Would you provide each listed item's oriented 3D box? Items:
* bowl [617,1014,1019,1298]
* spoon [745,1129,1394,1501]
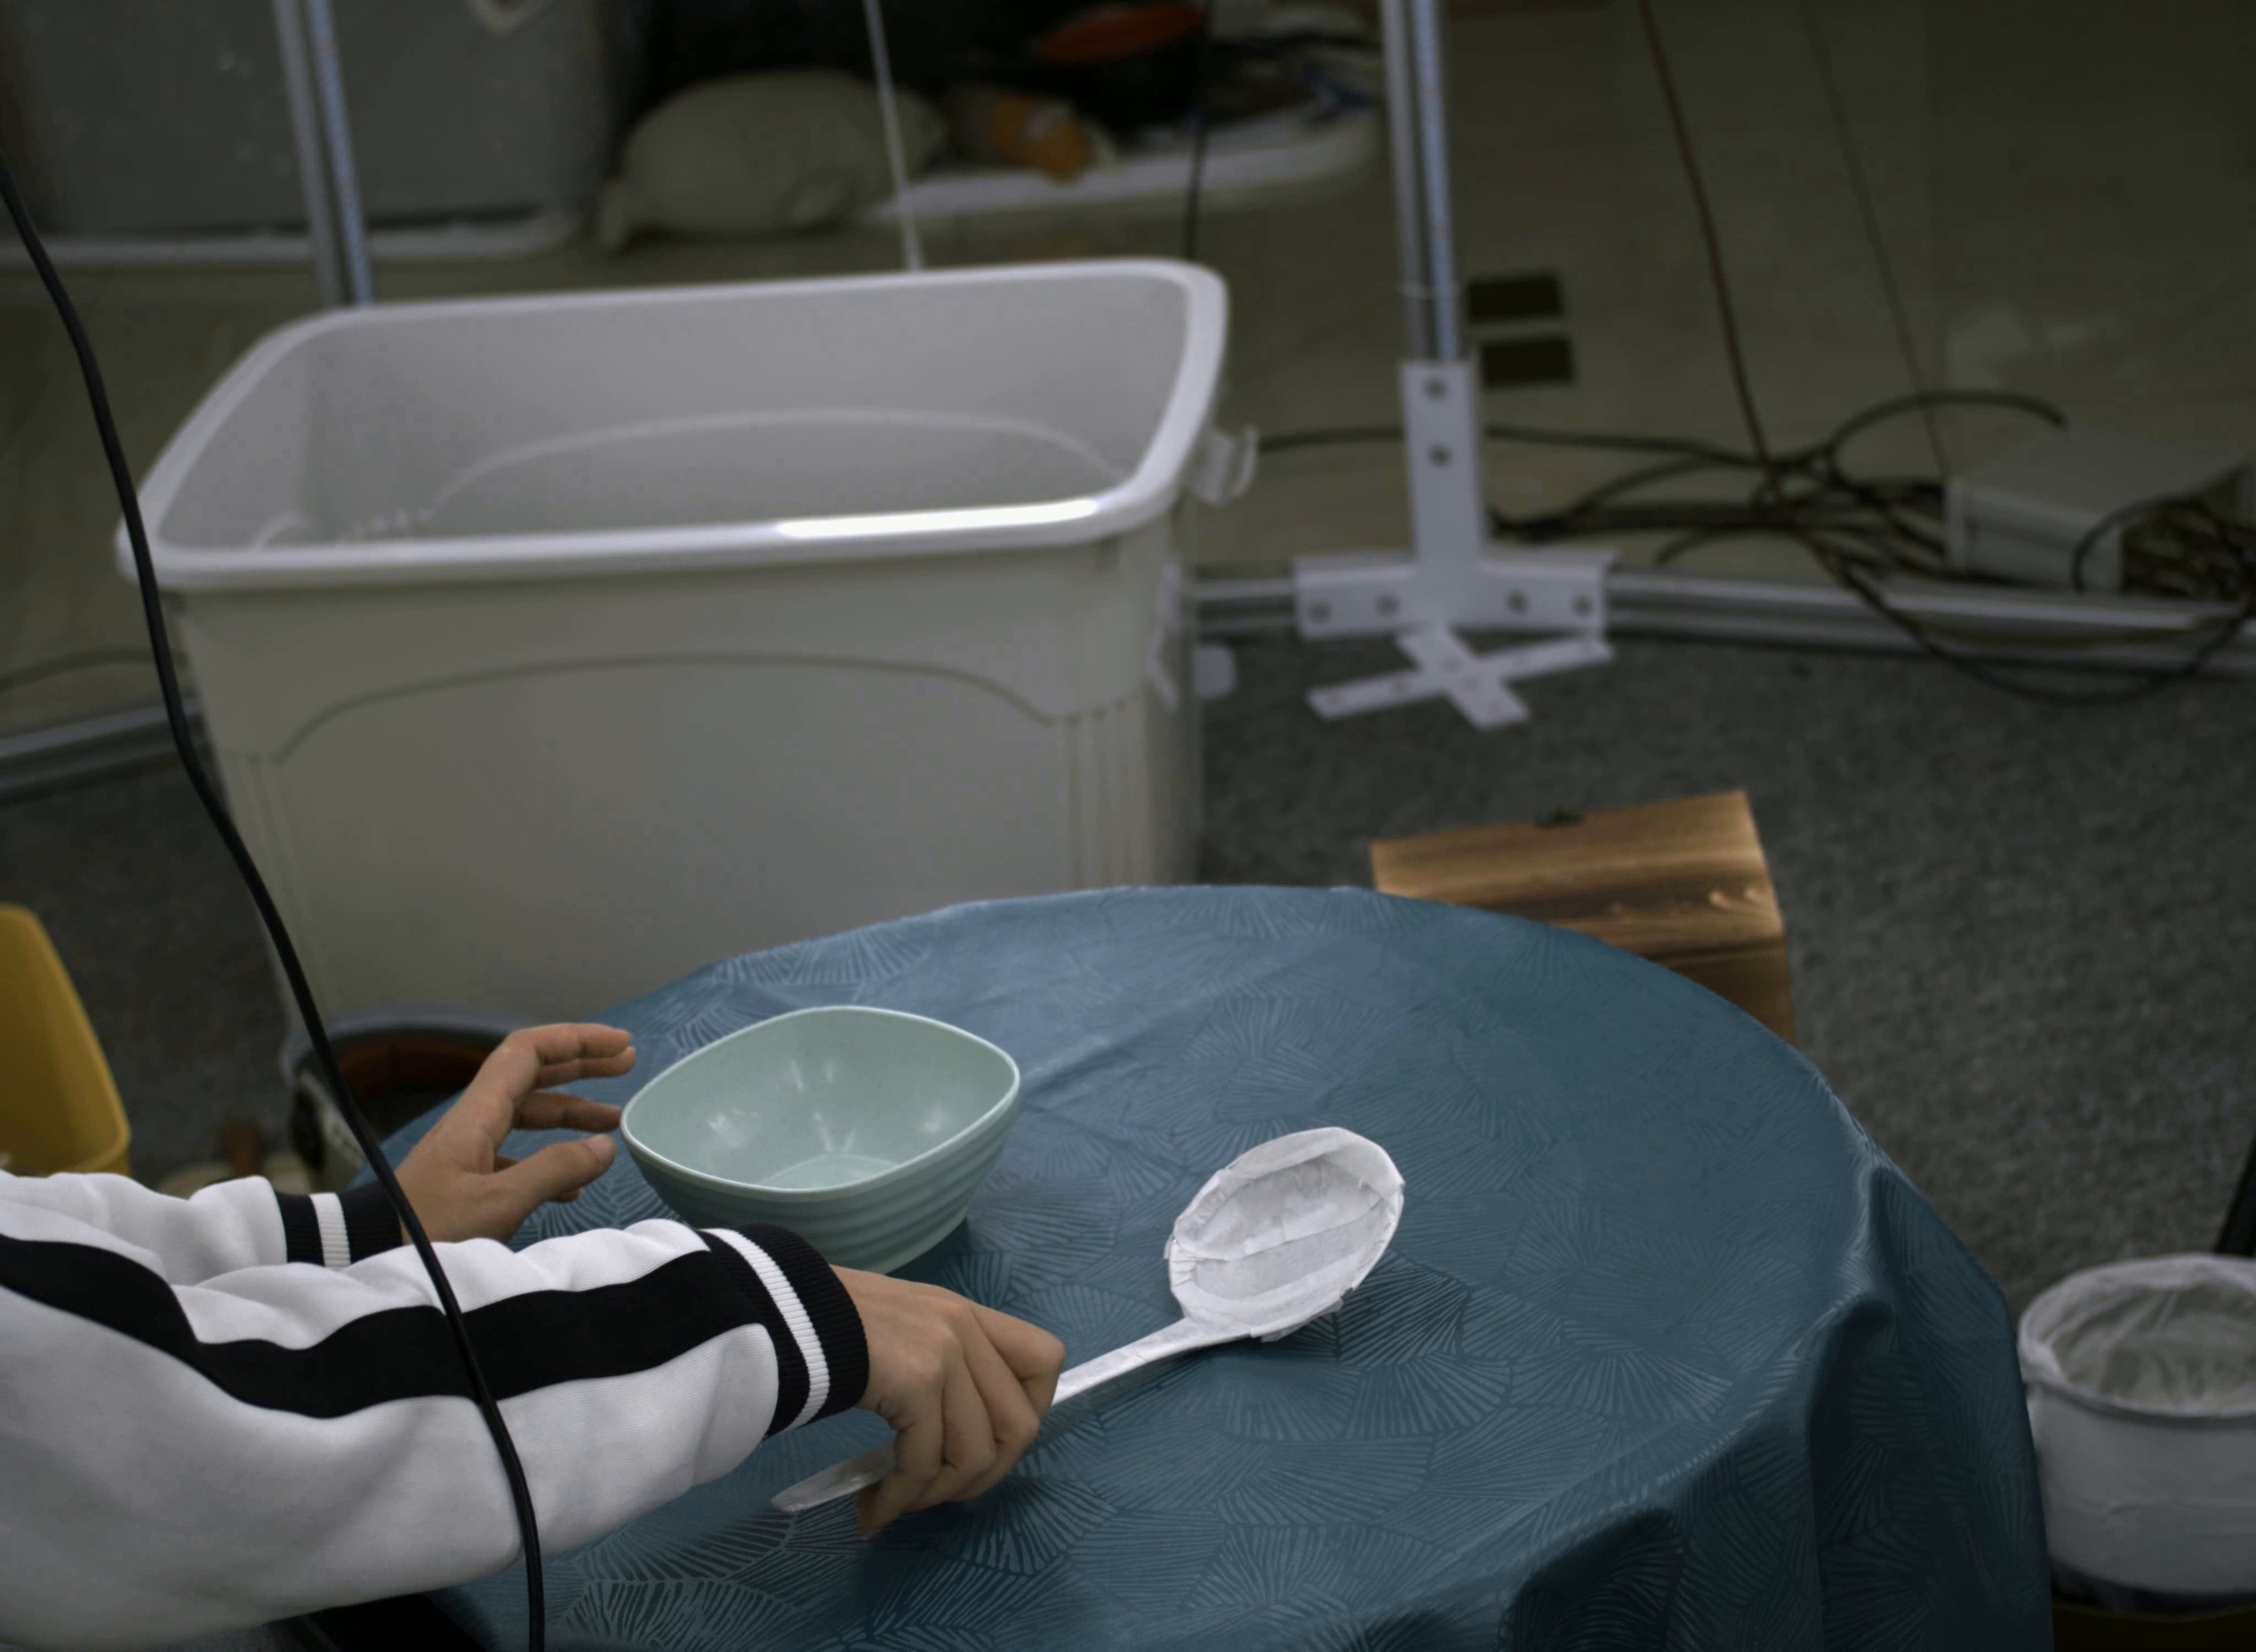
[{"bbox_3d":[-0.114,0.129,2.134,0.151,0.059,0.149,-5,25,2],"label":"bowl"},{"bbox_3d":[-0.025,0.170,2.000,0.276,0.060,0.100,-16,19,-35],"label":"spoon"}]
